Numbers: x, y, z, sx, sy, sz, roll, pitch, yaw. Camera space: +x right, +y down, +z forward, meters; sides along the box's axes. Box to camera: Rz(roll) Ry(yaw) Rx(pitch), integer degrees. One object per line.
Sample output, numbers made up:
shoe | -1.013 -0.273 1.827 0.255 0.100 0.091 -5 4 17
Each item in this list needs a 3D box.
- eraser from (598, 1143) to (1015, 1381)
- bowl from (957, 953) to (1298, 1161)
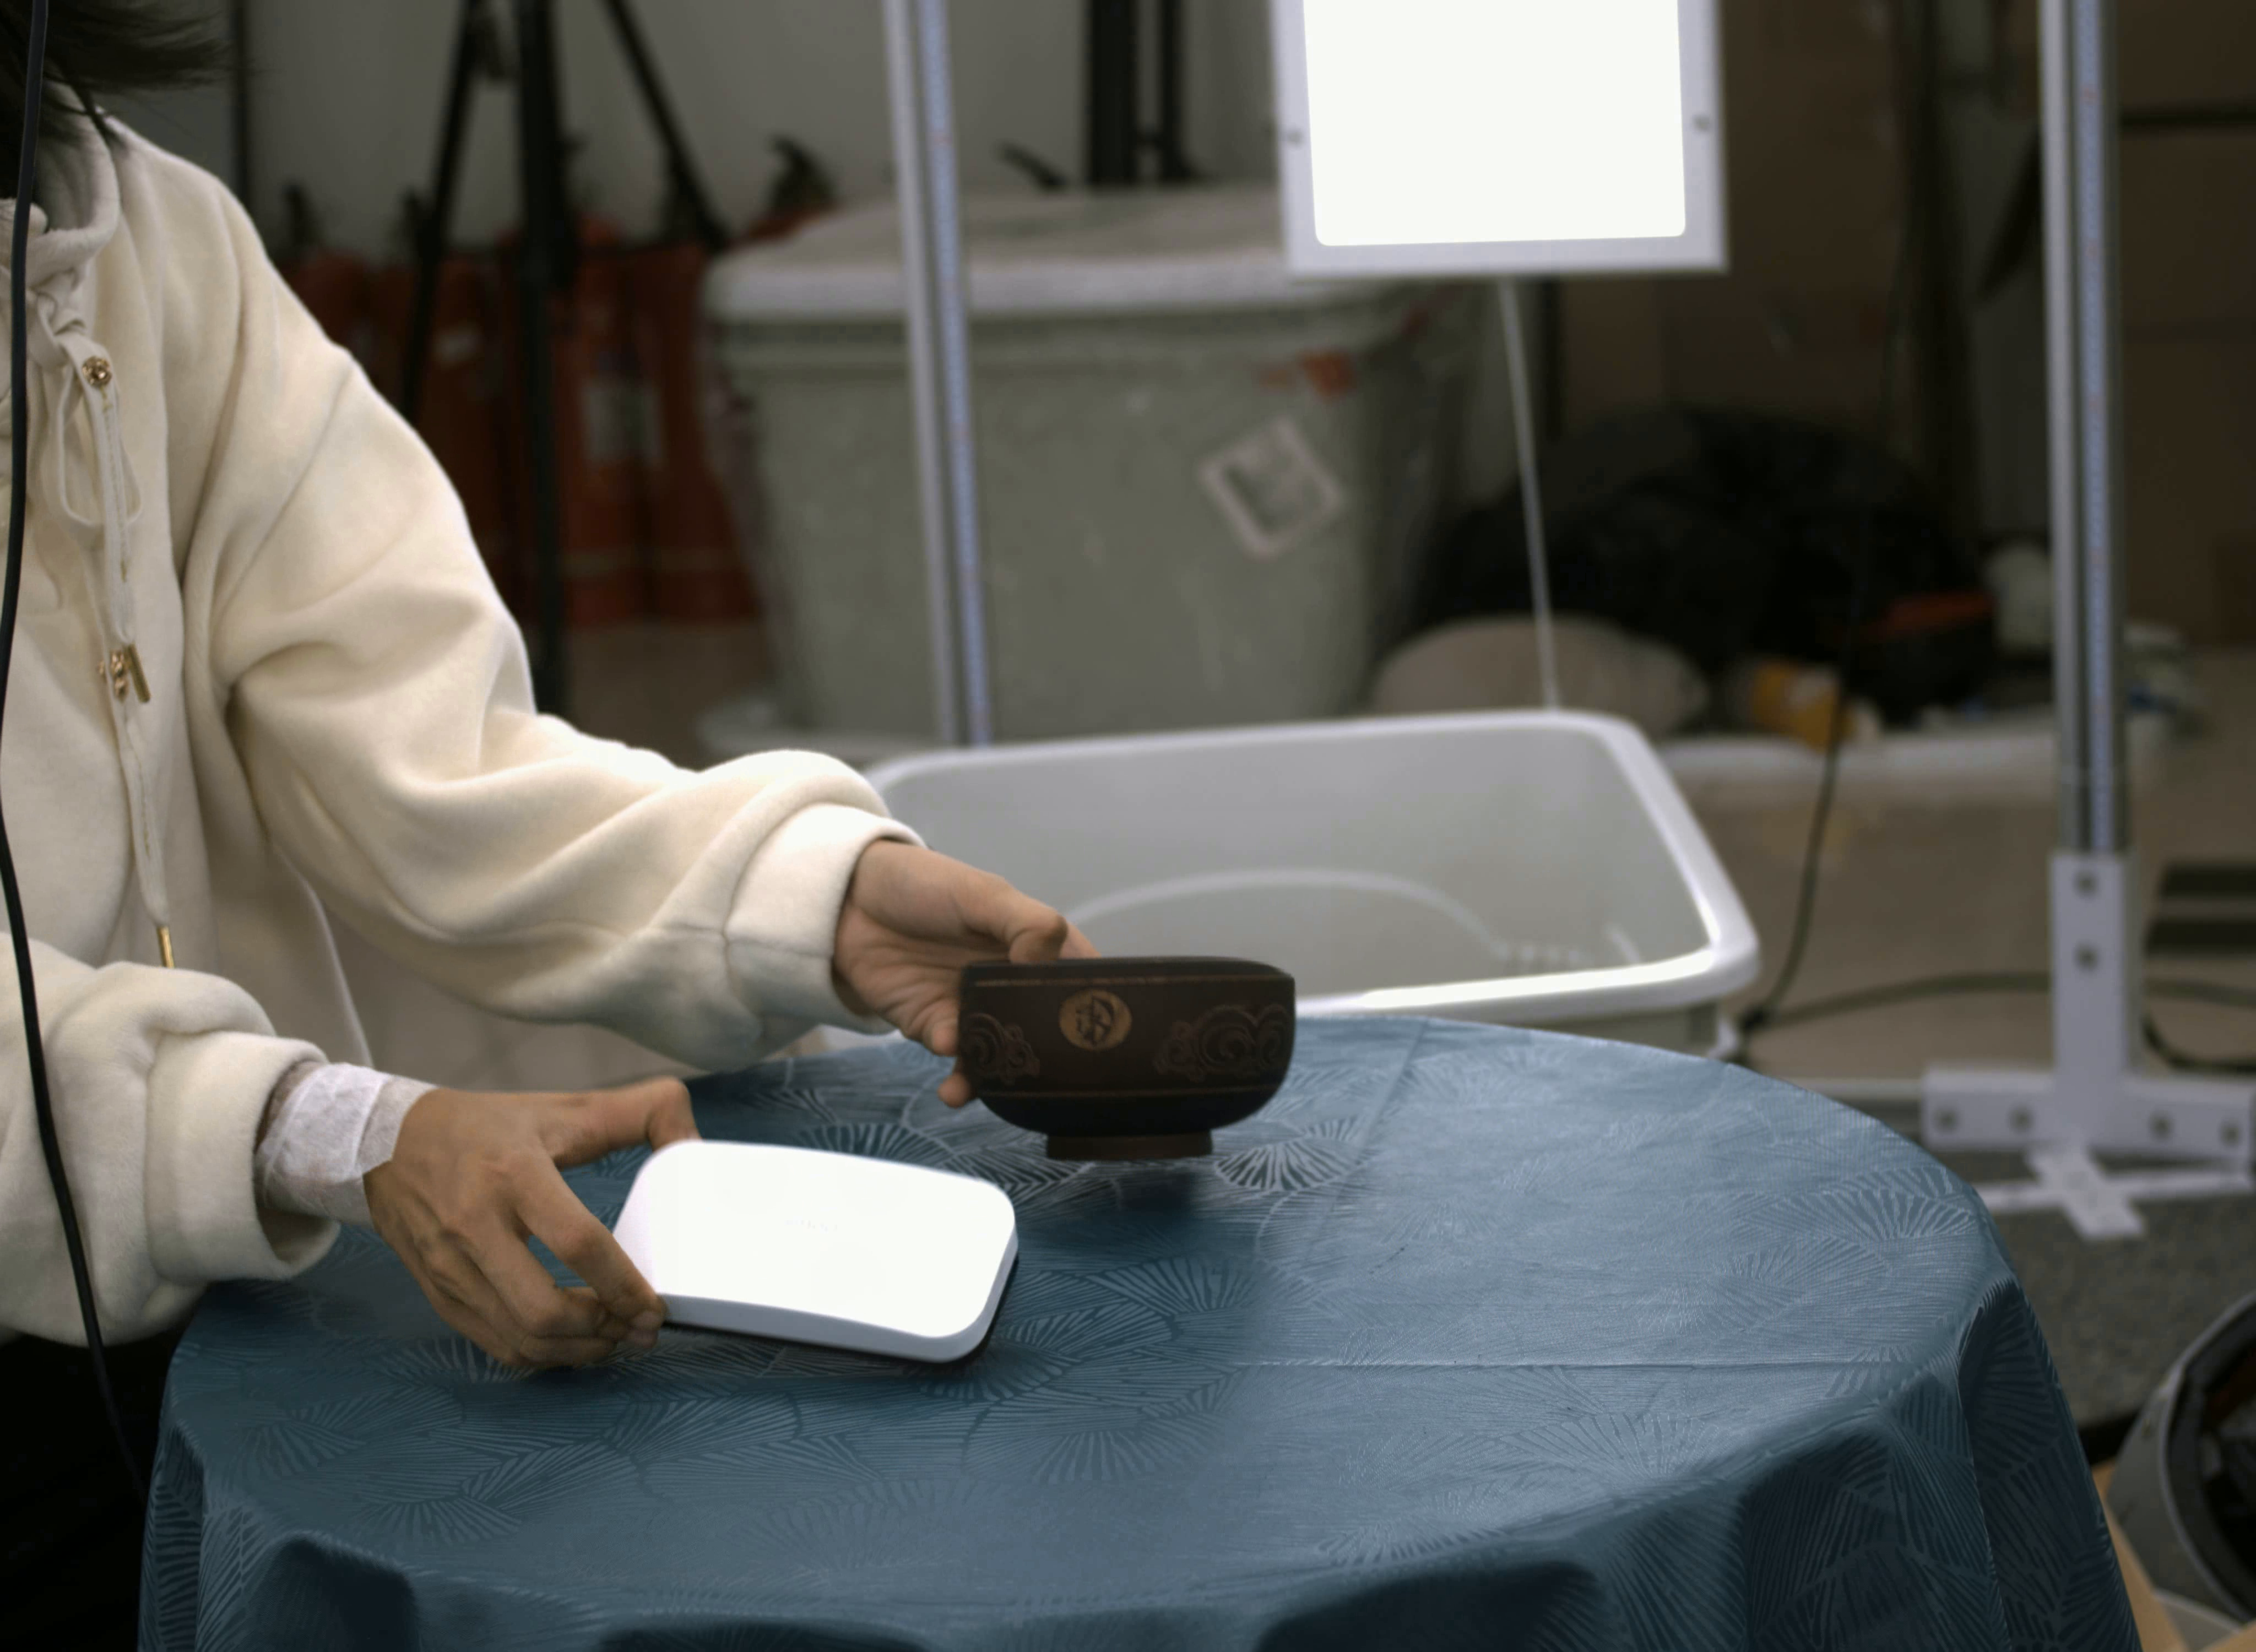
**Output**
eraser | -0.101 0.138 1.755 0.133 0.034 0.062 7 50 22
bowl | 0.001 0.080 1.891 0.117 0.070 0.118 -1 -3 -1
